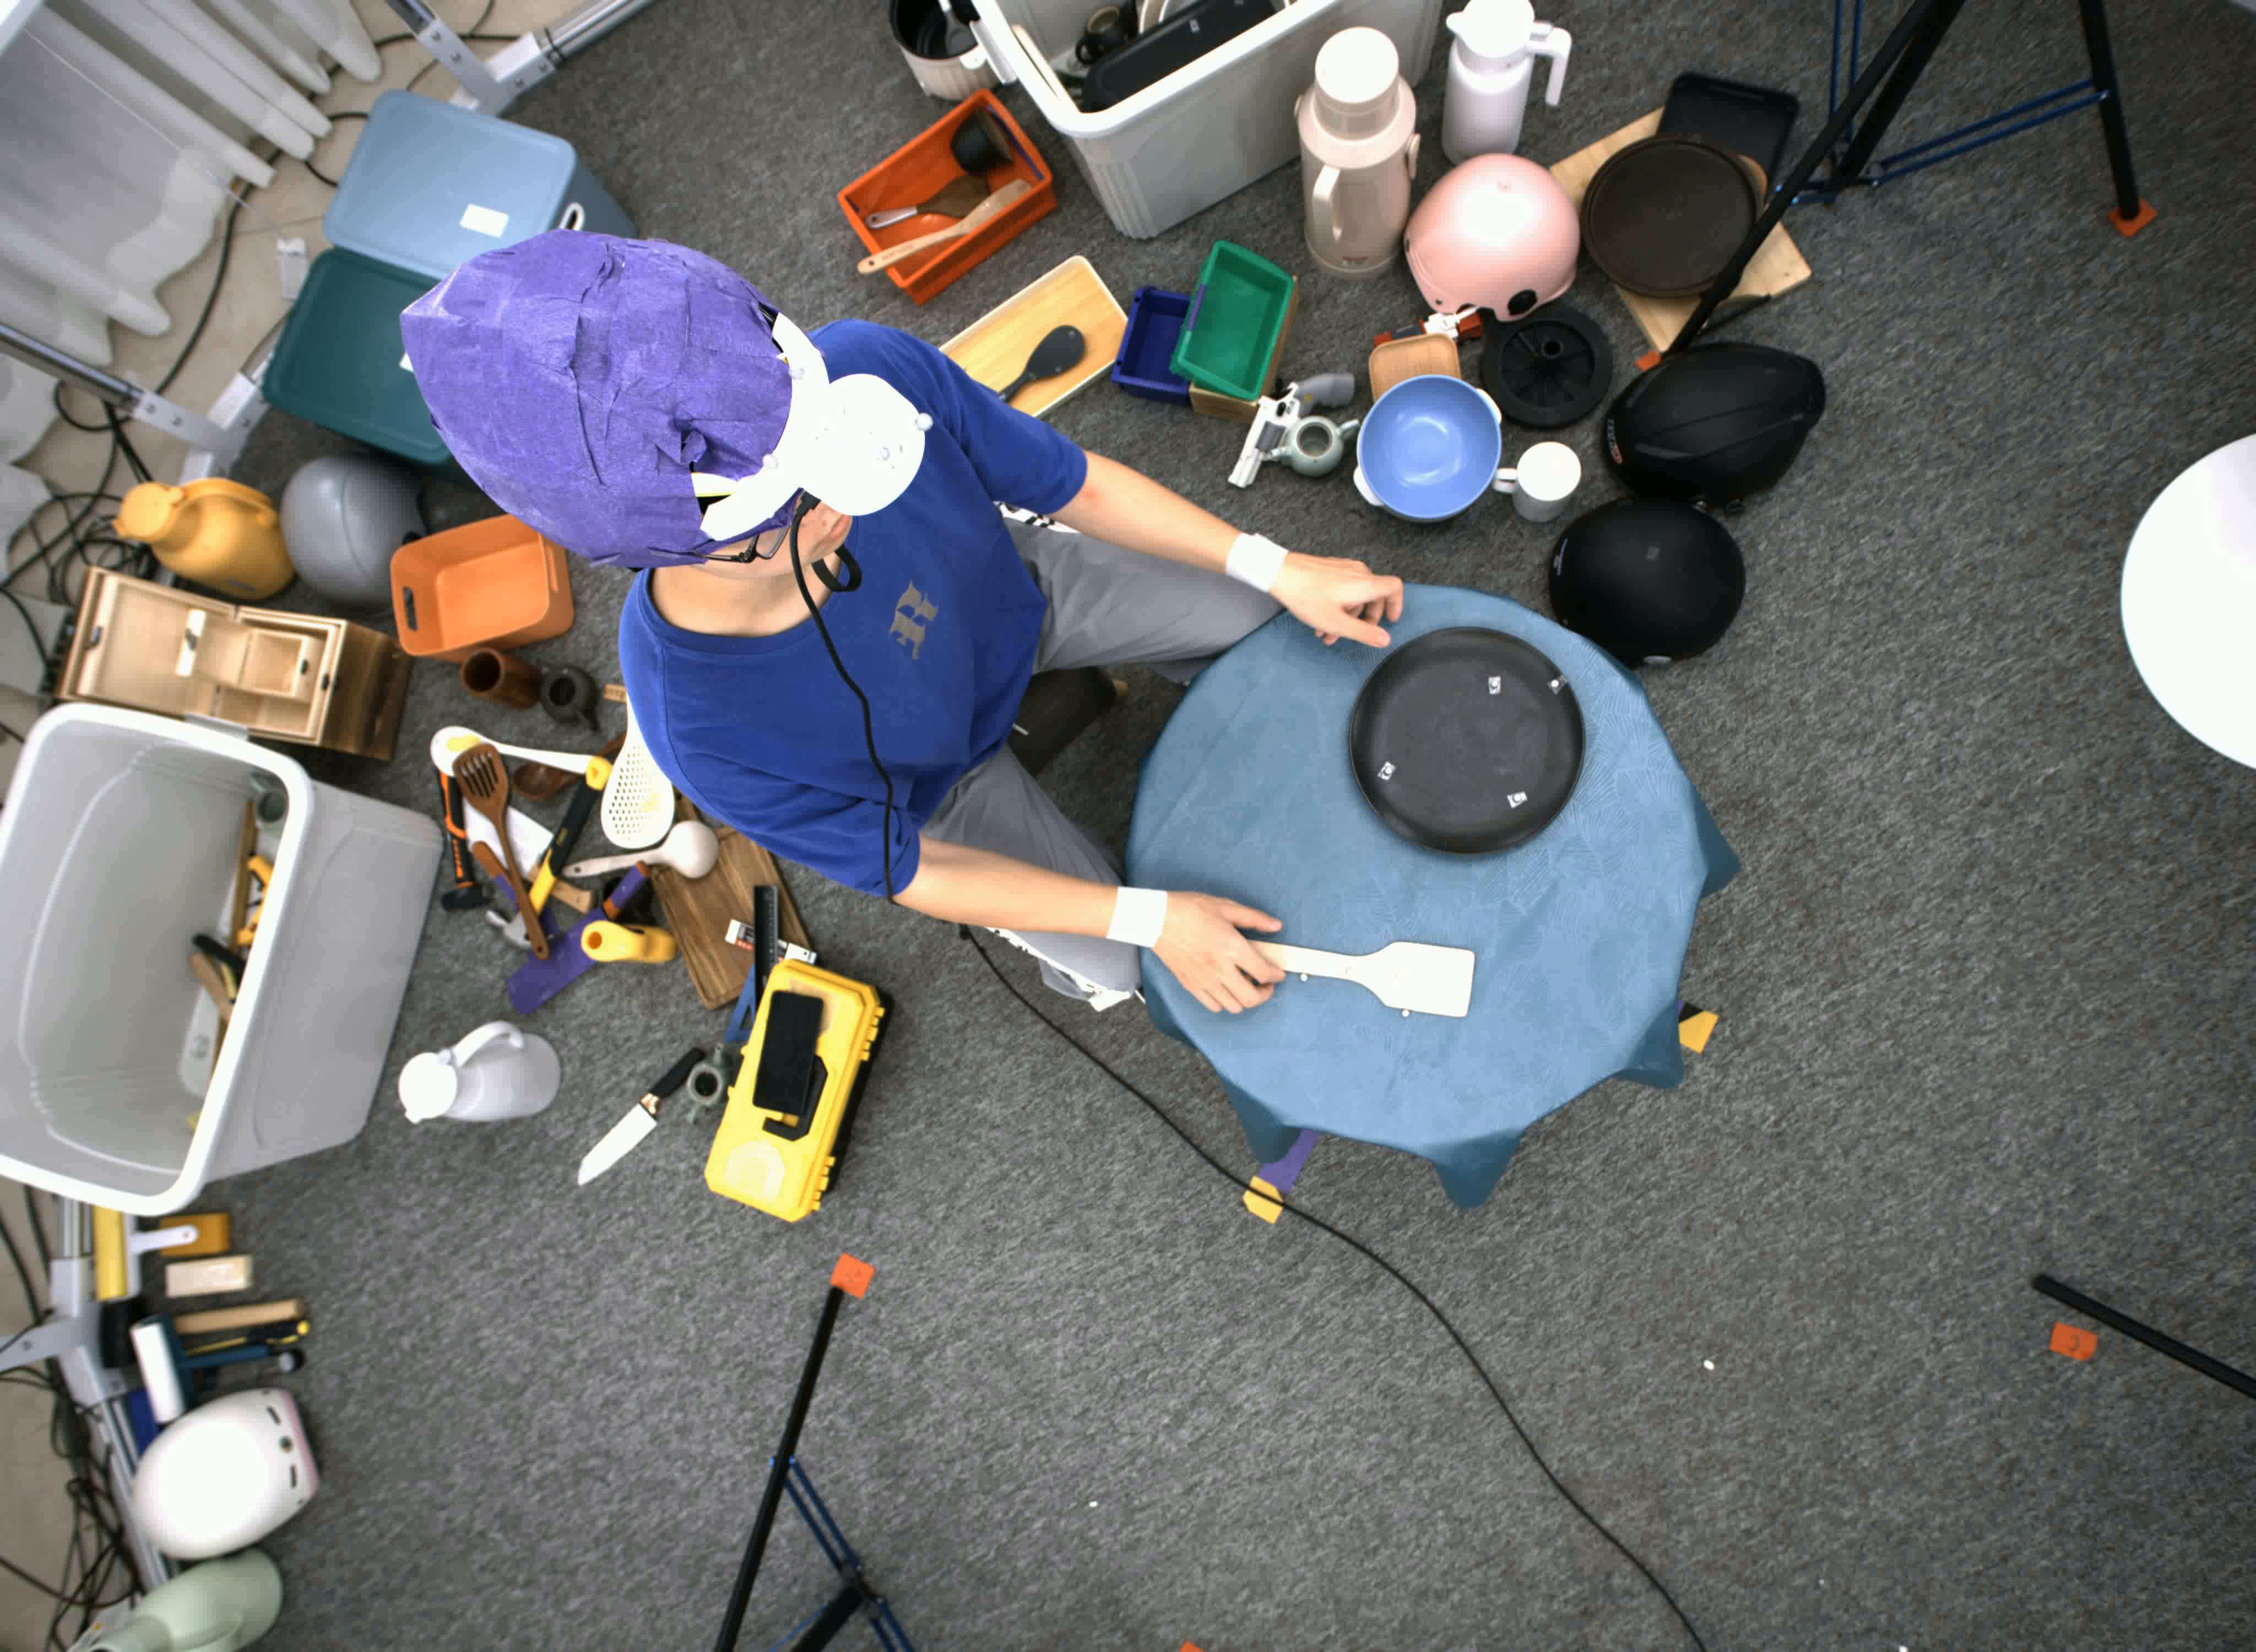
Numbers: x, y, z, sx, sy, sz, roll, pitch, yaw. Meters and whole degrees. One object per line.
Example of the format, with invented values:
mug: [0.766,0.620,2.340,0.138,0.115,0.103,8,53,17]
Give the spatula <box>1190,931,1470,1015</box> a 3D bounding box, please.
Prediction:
spatula: [0.210,0.144,1.461,0.294,0.010,0.072,7,90,11]

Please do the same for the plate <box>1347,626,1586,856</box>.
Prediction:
plate: [0.354,-0.090,1.439,0.245,0.023,0.243,-1,87,11]
